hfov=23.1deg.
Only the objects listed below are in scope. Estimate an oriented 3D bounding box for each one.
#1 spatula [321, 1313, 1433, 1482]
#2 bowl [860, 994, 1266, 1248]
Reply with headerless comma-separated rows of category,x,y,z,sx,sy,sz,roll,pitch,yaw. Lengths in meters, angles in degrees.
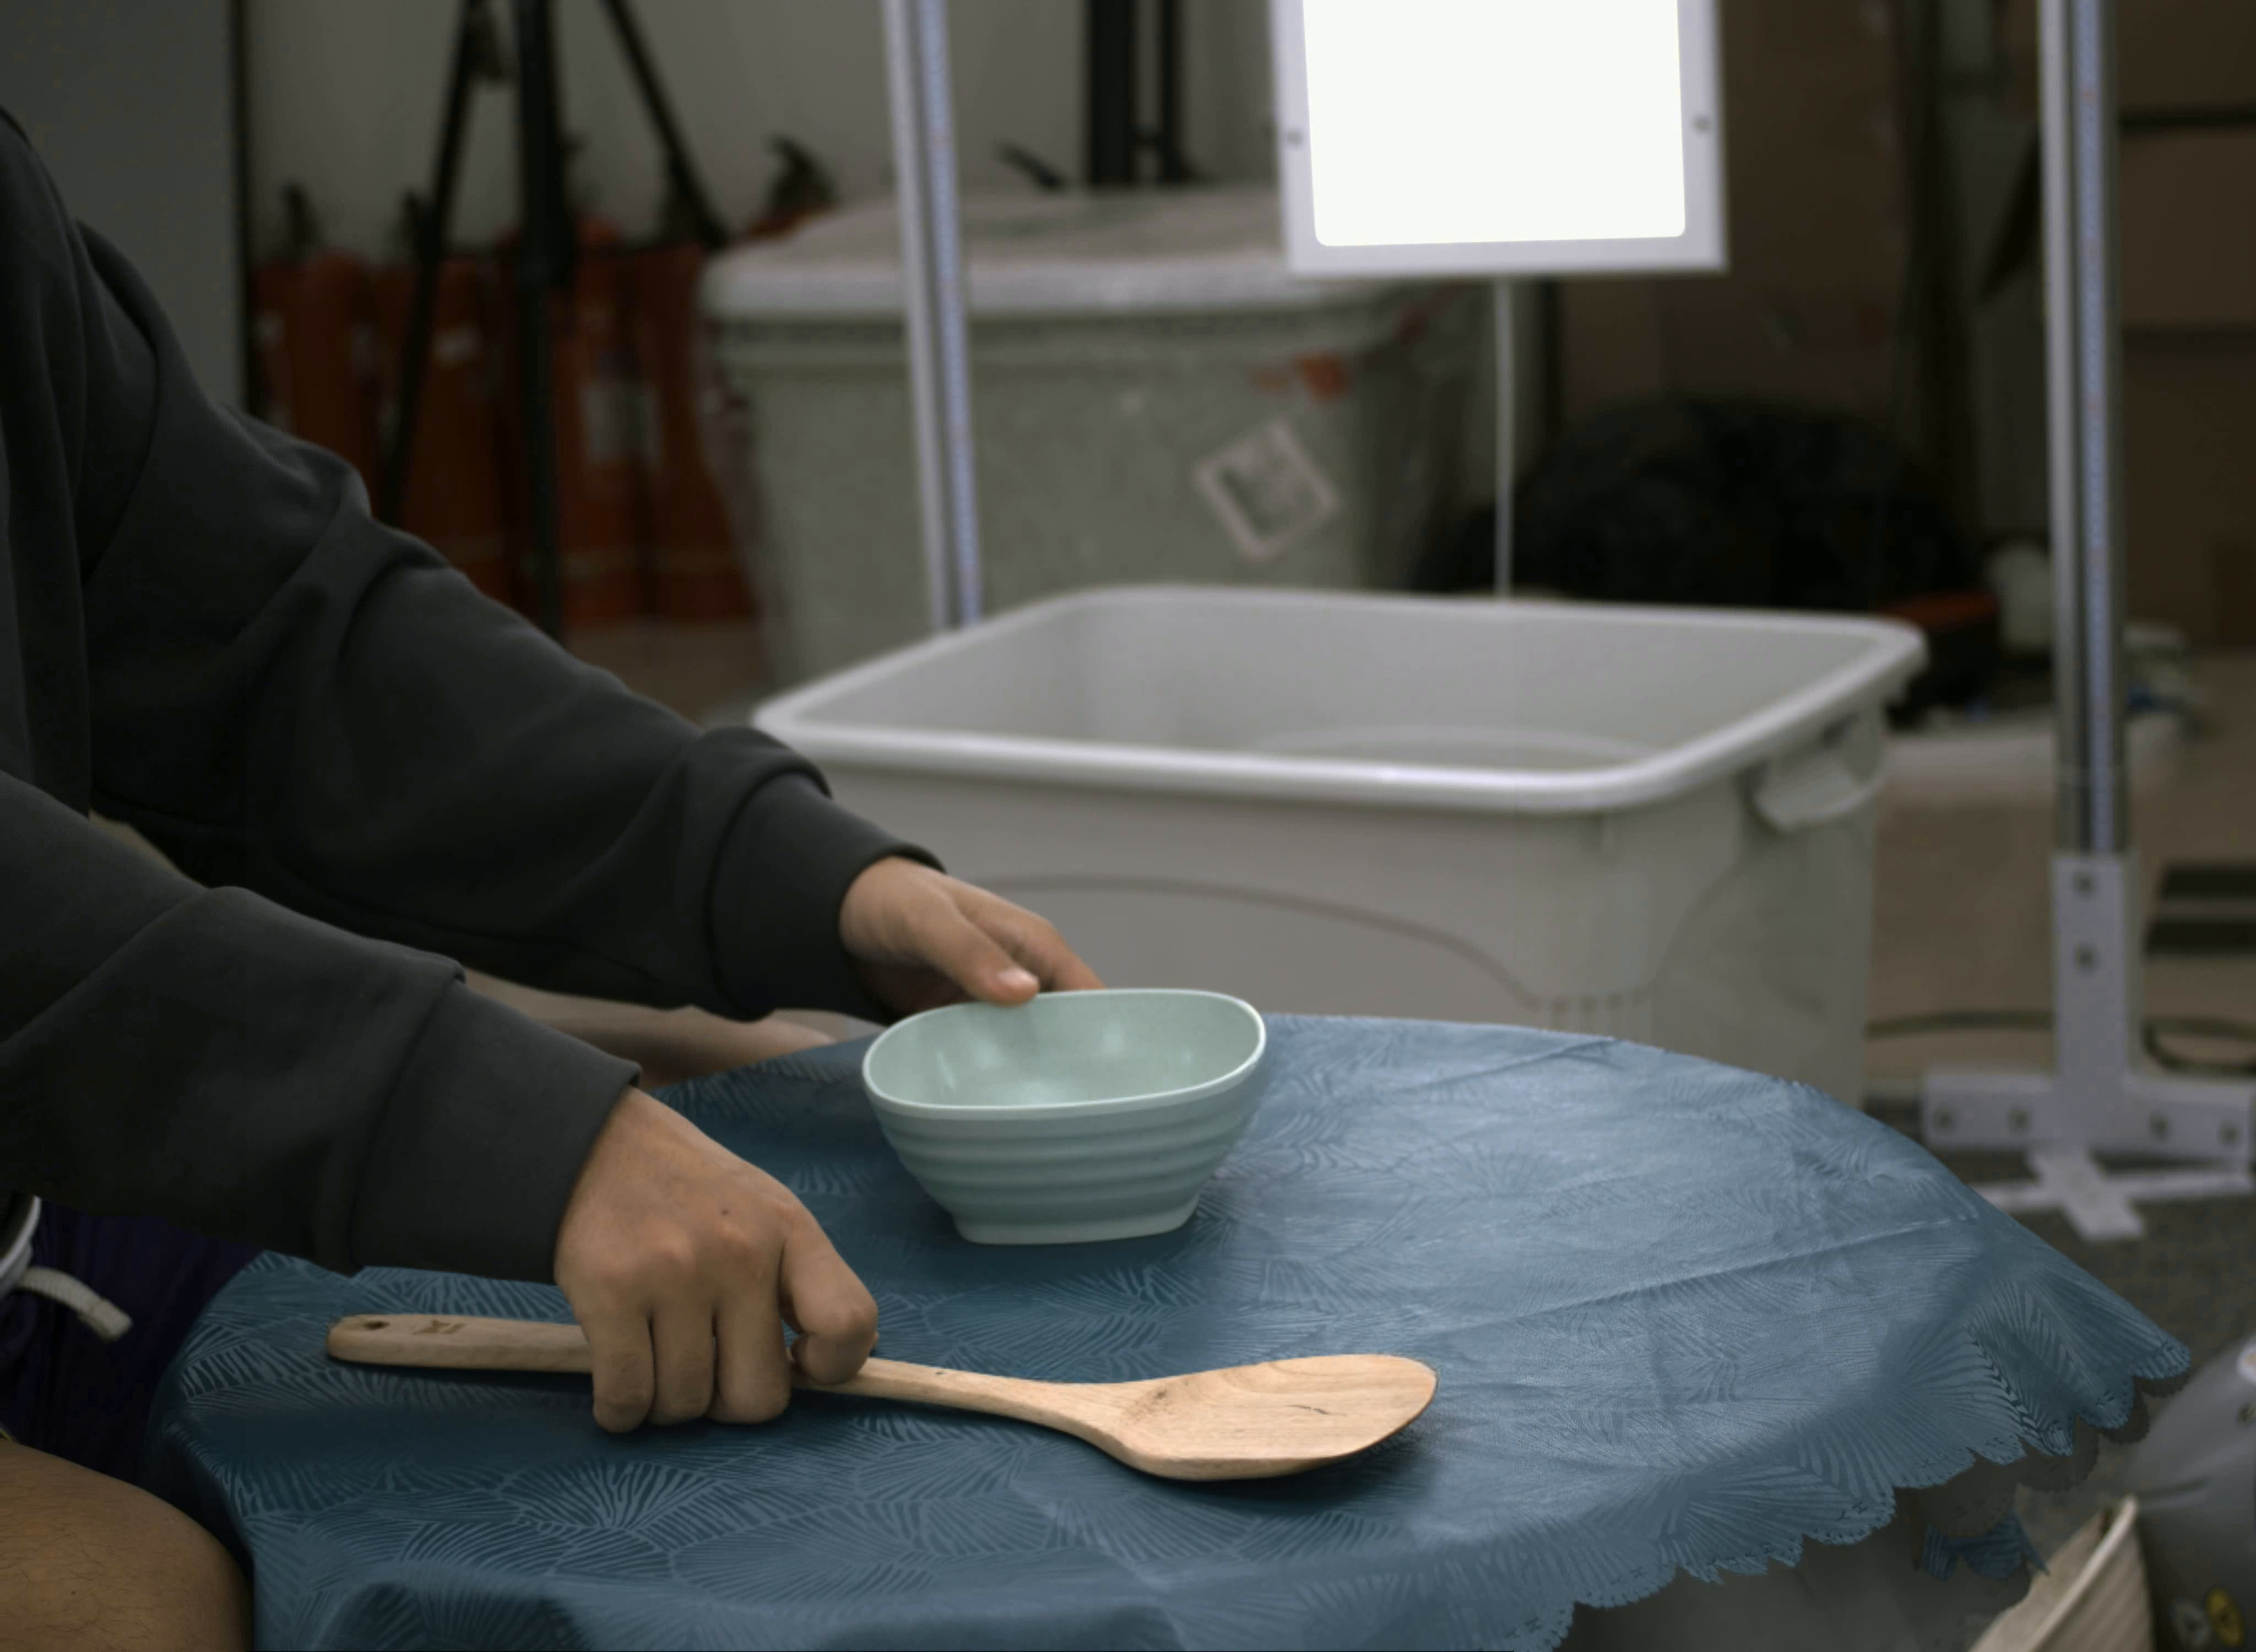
spatula,-0.090,0.172,1.708,0.398,0.018,0.093,3,14,29
bowl,-0.021,0.104,1.882,0.151,0.059,0.151,-3,14,-1
